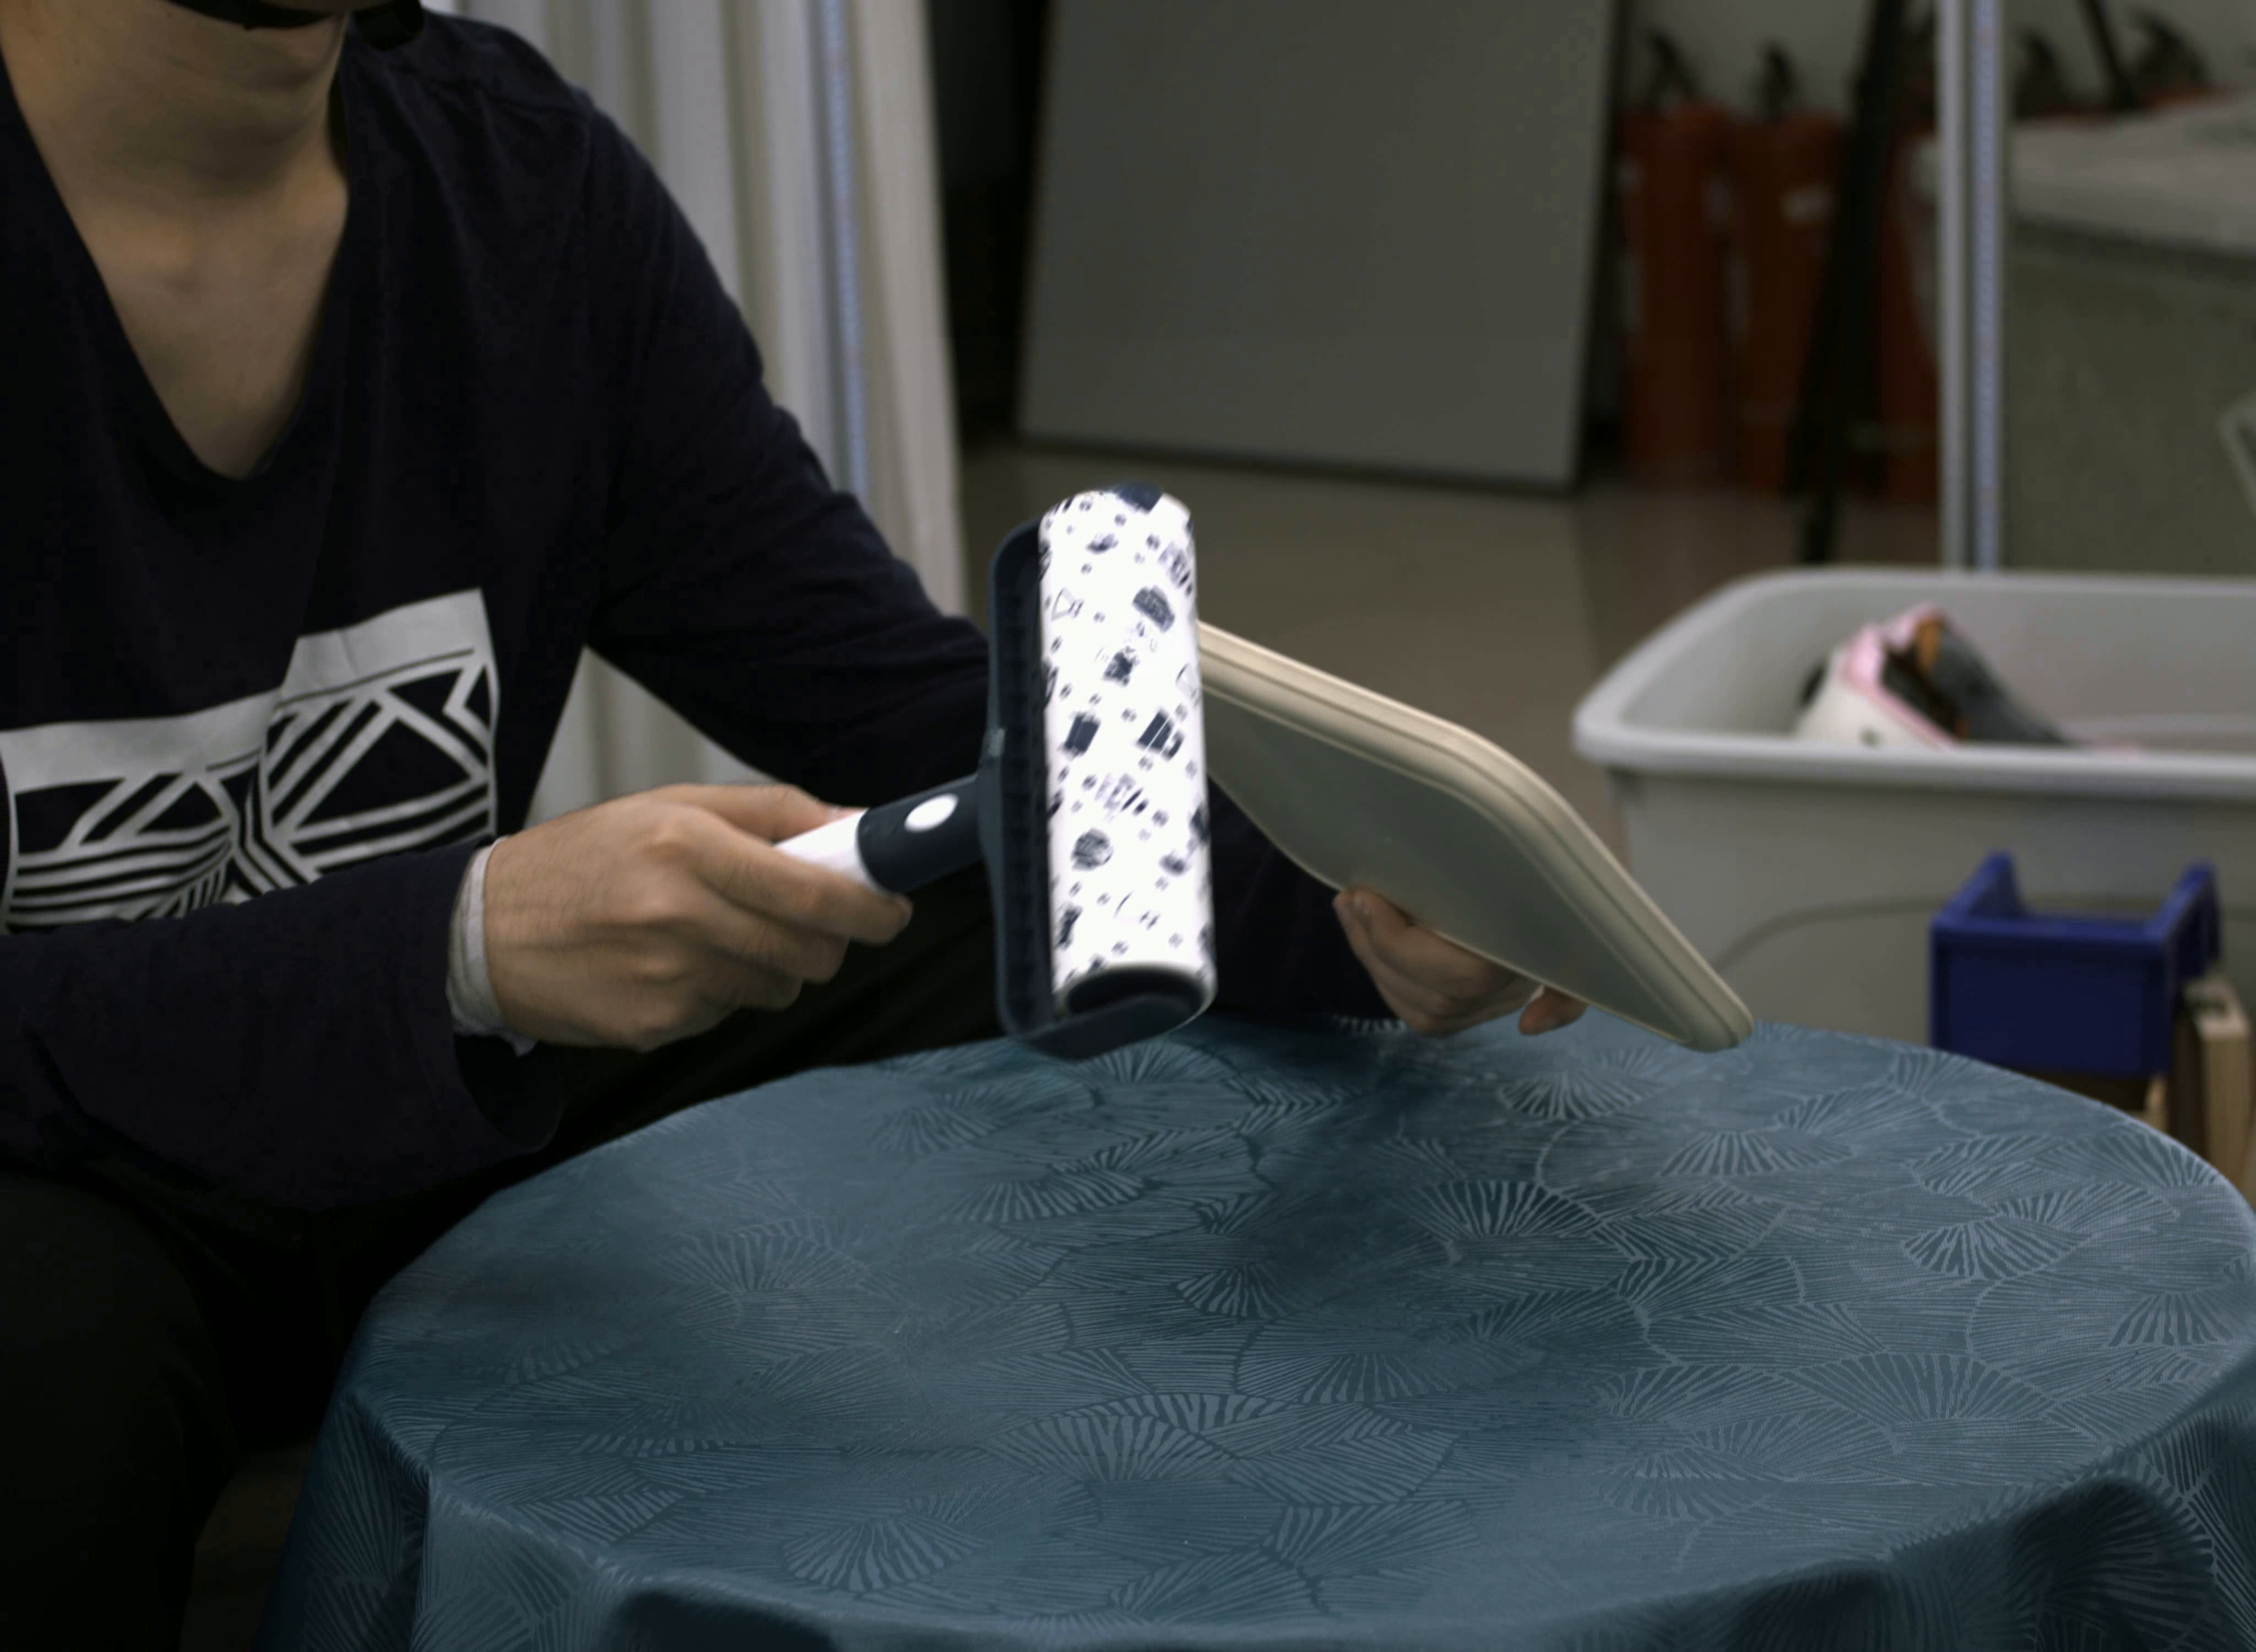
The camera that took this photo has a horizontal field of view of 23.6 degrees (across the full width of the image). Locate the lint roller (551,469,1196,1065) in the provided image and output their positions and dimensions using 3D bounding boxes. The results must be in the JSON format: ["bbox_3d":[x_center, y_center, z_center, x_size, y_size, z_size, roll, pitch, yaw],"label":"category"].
[{"bbox_3d":[-0.085,0.012,1.629,0.248,0.178,0.049,-22,-34,31],"label":"lint roller"}]

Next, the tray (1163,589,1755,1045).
[{"bbox_3d":[0.088,-0.005,1.727,0.017,0.169,0.242,-51,37,-12],"label":"tray"}]
